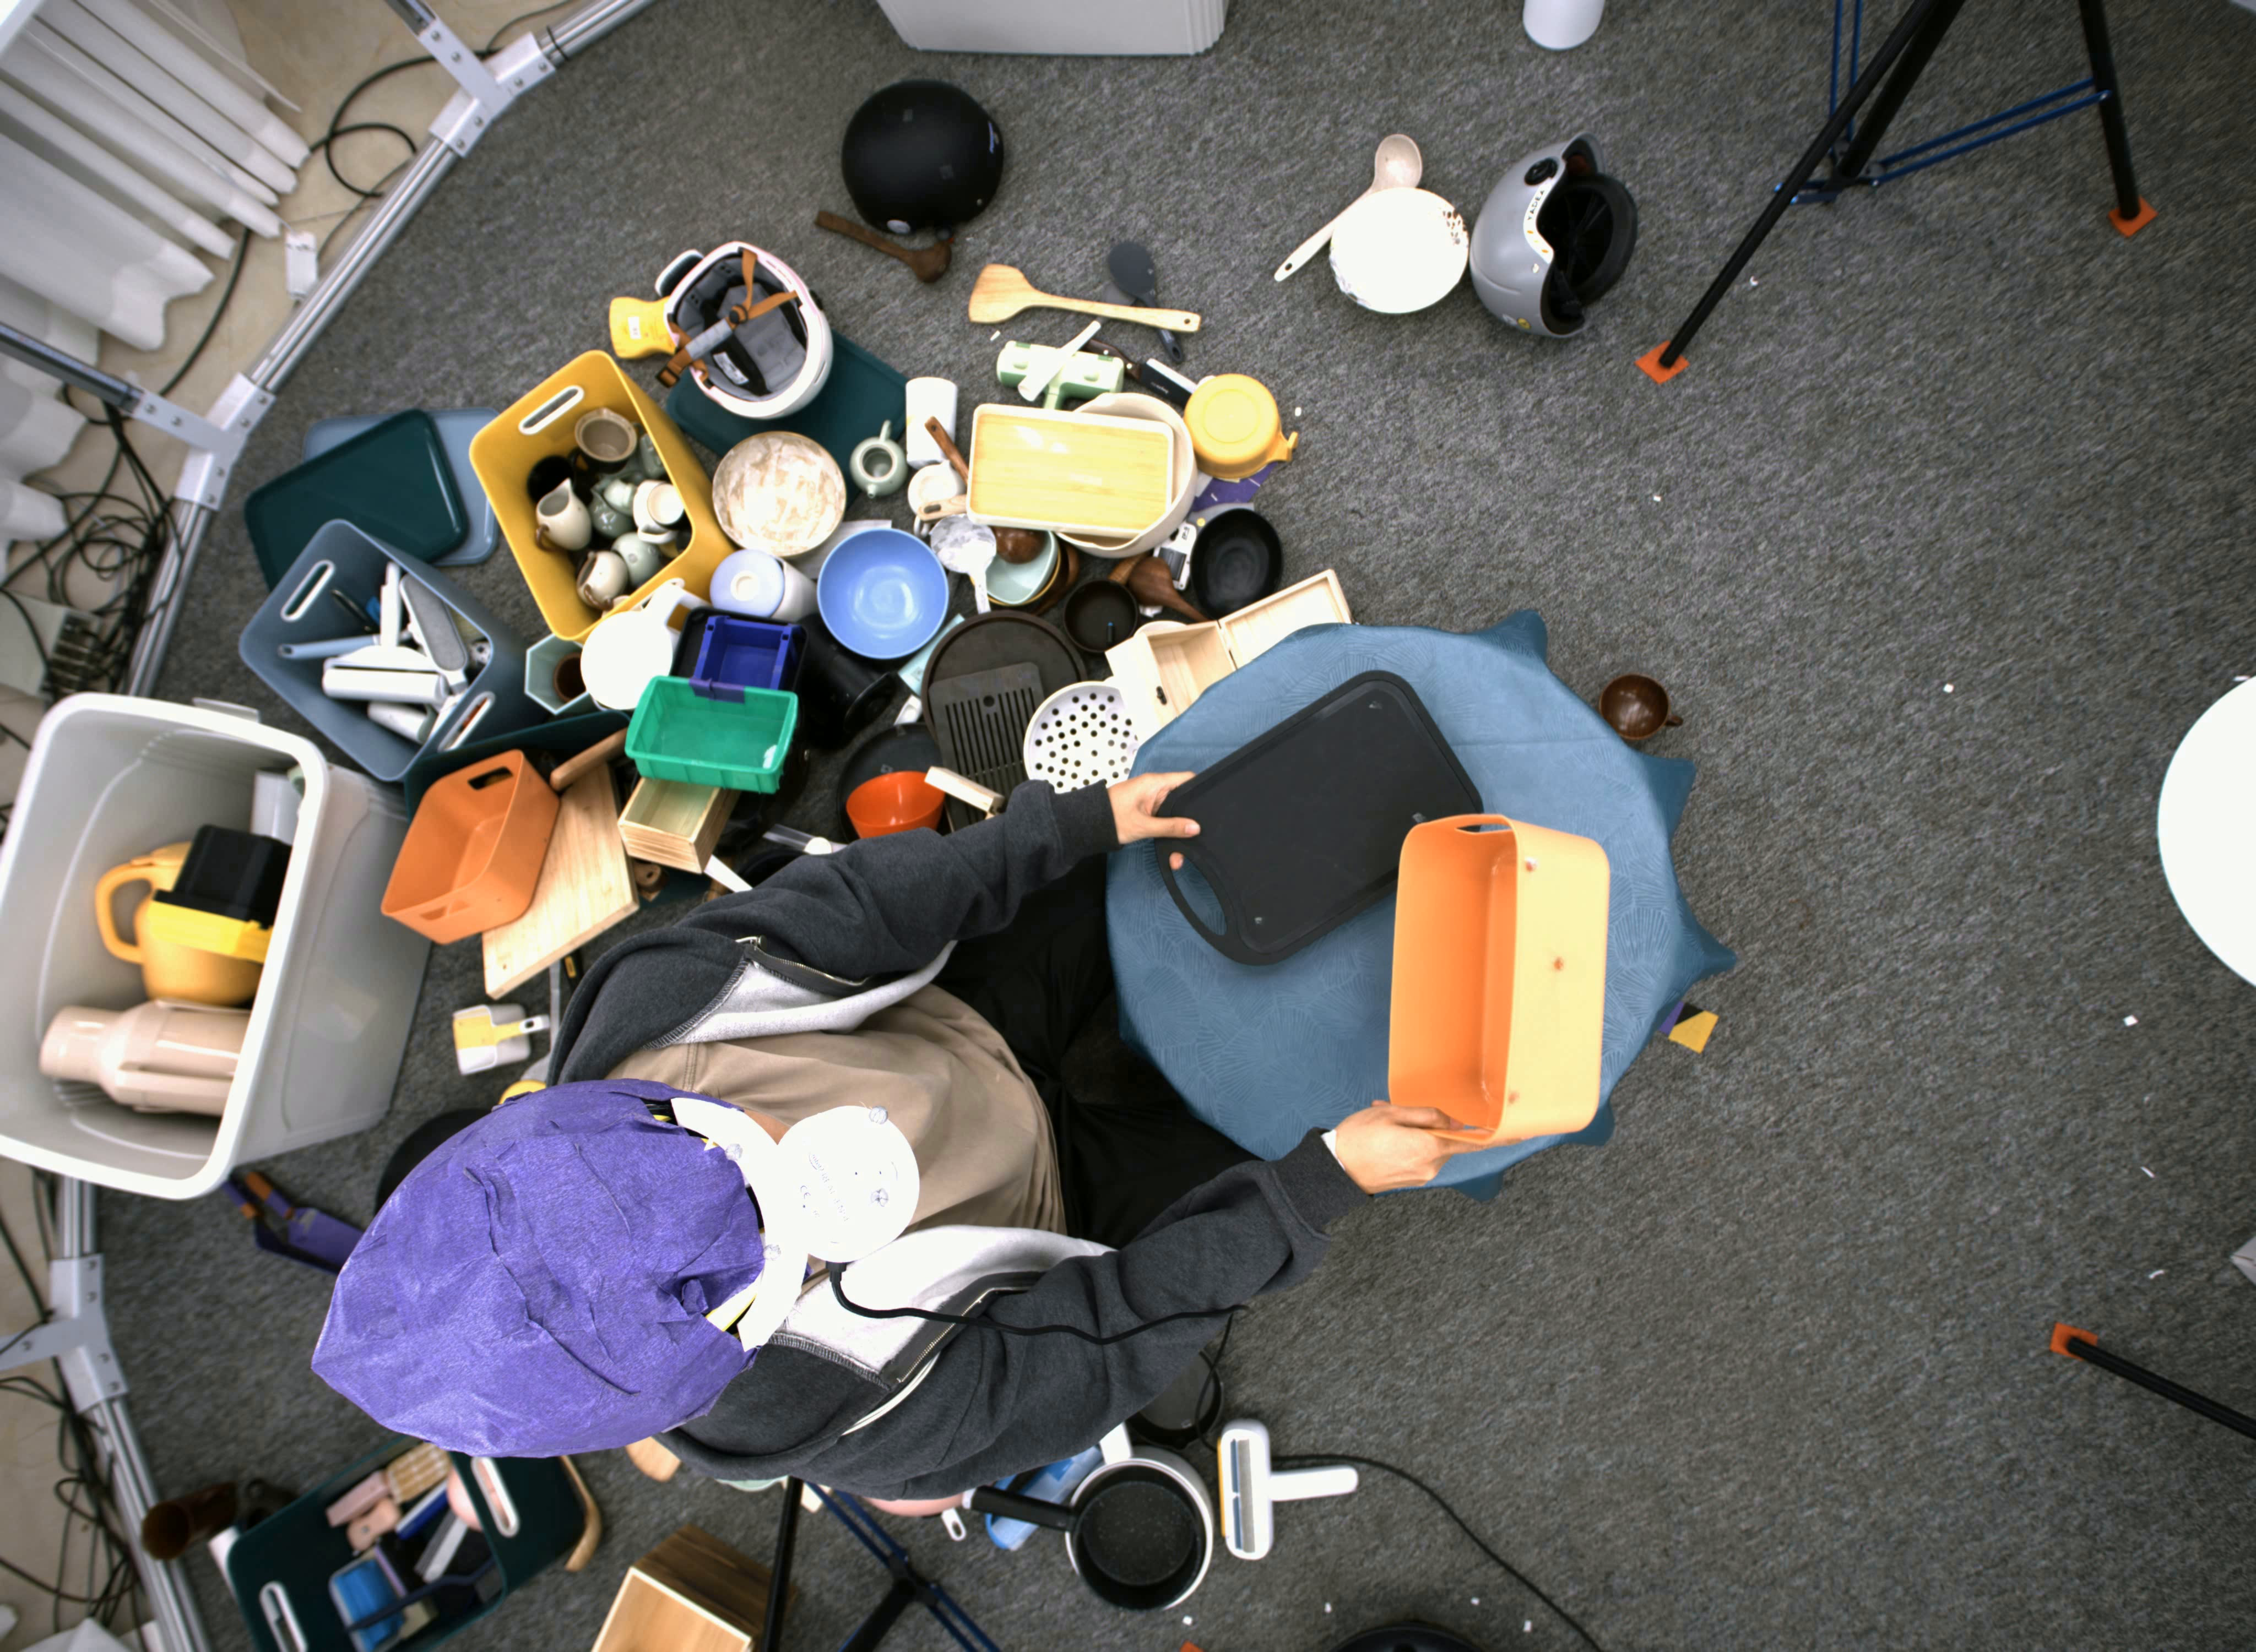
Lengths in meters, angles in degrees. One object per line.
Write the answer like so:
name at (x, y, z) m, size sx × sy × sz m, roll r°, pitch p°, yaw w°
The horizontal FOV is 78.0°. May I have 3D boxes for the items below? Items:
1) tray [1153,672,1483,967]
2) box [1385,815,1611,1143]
tray at (0.188, -0.002, 1.417) m, size 0.327 × 0.010 × 0.211 m, roll -32°, pitch 90°, yaw 5°
box at (0.321, 0.130, 1.195) m, size 0.102 × 0.200 × 0.272 m, roll 5°, pitch 87°, yaw -19°
